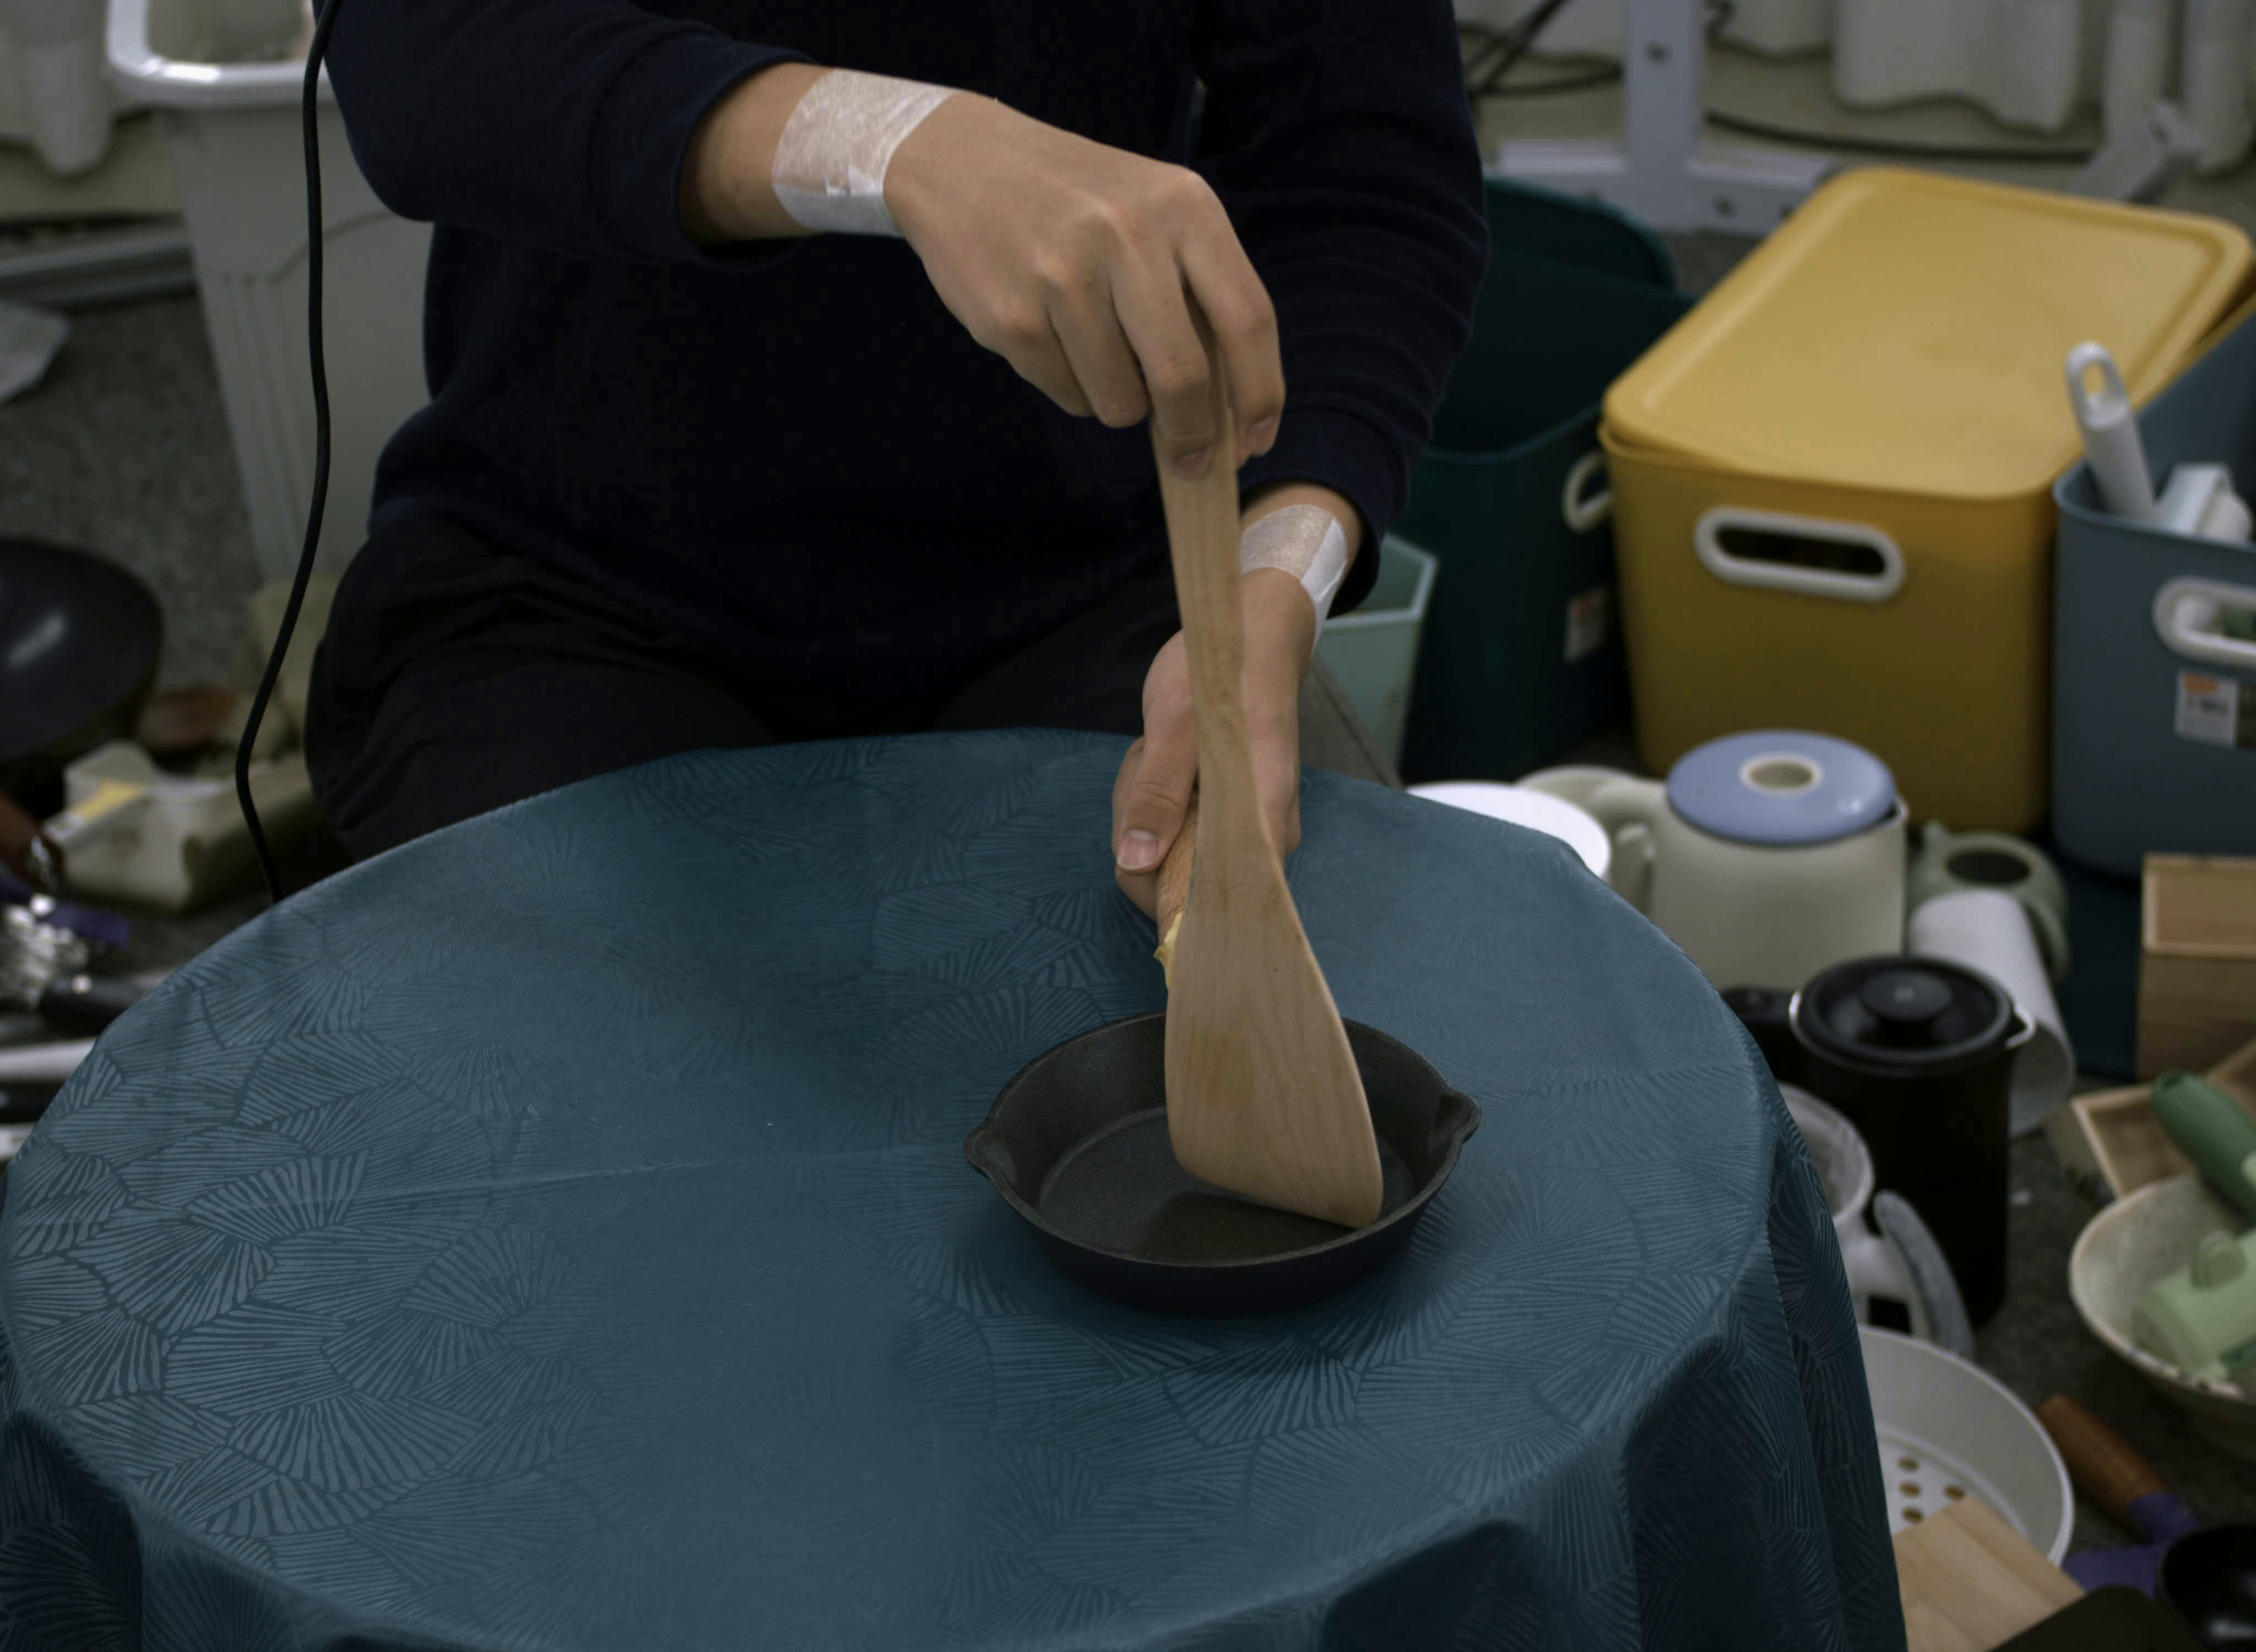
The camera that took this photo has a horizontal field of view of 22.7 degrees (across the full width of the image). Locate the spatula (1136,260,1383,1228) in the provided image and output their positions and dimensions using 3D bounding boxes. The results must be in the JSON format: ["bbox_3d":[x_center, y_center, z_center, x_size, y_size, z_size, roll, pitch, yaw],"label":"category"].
[{"bbox_3d":[0.031,-0.021,1.789,0.079,0.326,0.017,4,20,31],"label":"spatula"}]

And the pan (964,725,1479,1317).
[{"bbox_3d":[0.028,0.063,1.909,0.168,0.049,0.329,-3,30,0],"label":"pan"}]
